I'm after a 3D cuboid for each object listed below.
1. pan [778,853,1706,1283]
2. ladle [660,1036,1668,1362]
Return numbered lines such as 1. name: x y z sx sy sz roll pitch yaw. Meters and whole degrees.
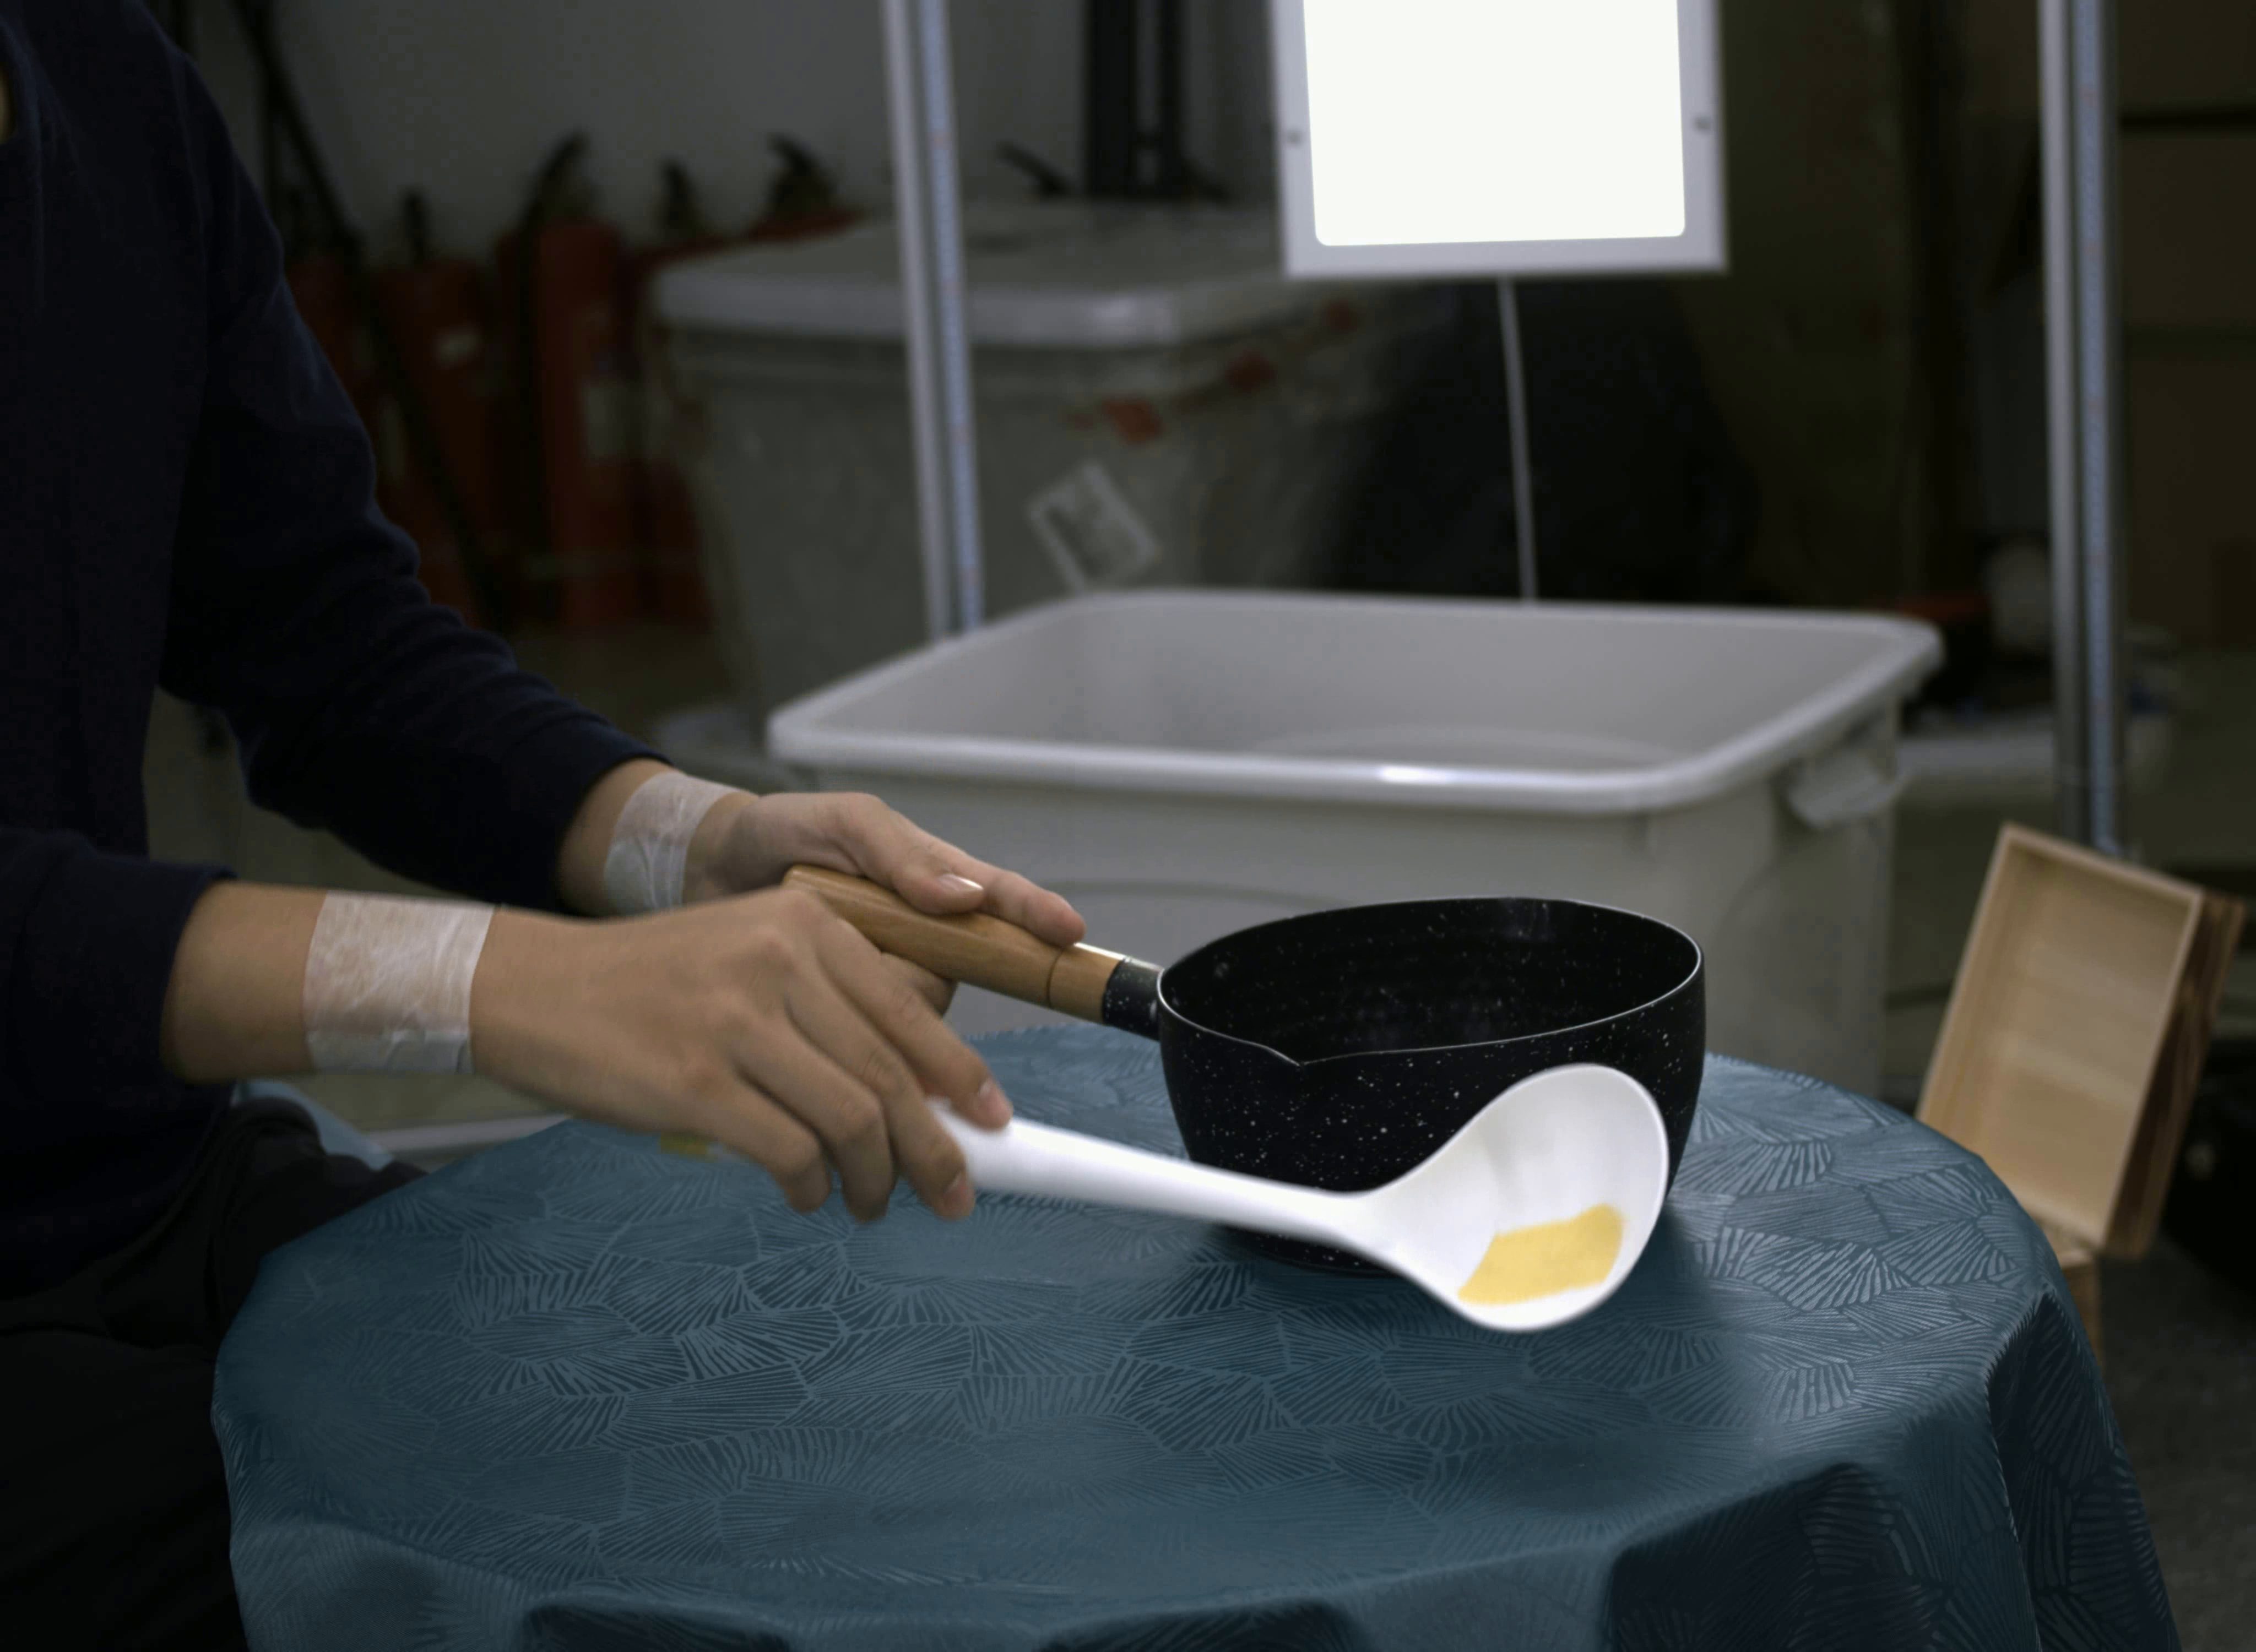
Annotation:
1. pan: 0.031 0.073 1.876 0.349 0.108 0.203 4 17 28
2. ladle: 0.008 0.096 1.605 0.292 0.089 0.070 11 -26 2
